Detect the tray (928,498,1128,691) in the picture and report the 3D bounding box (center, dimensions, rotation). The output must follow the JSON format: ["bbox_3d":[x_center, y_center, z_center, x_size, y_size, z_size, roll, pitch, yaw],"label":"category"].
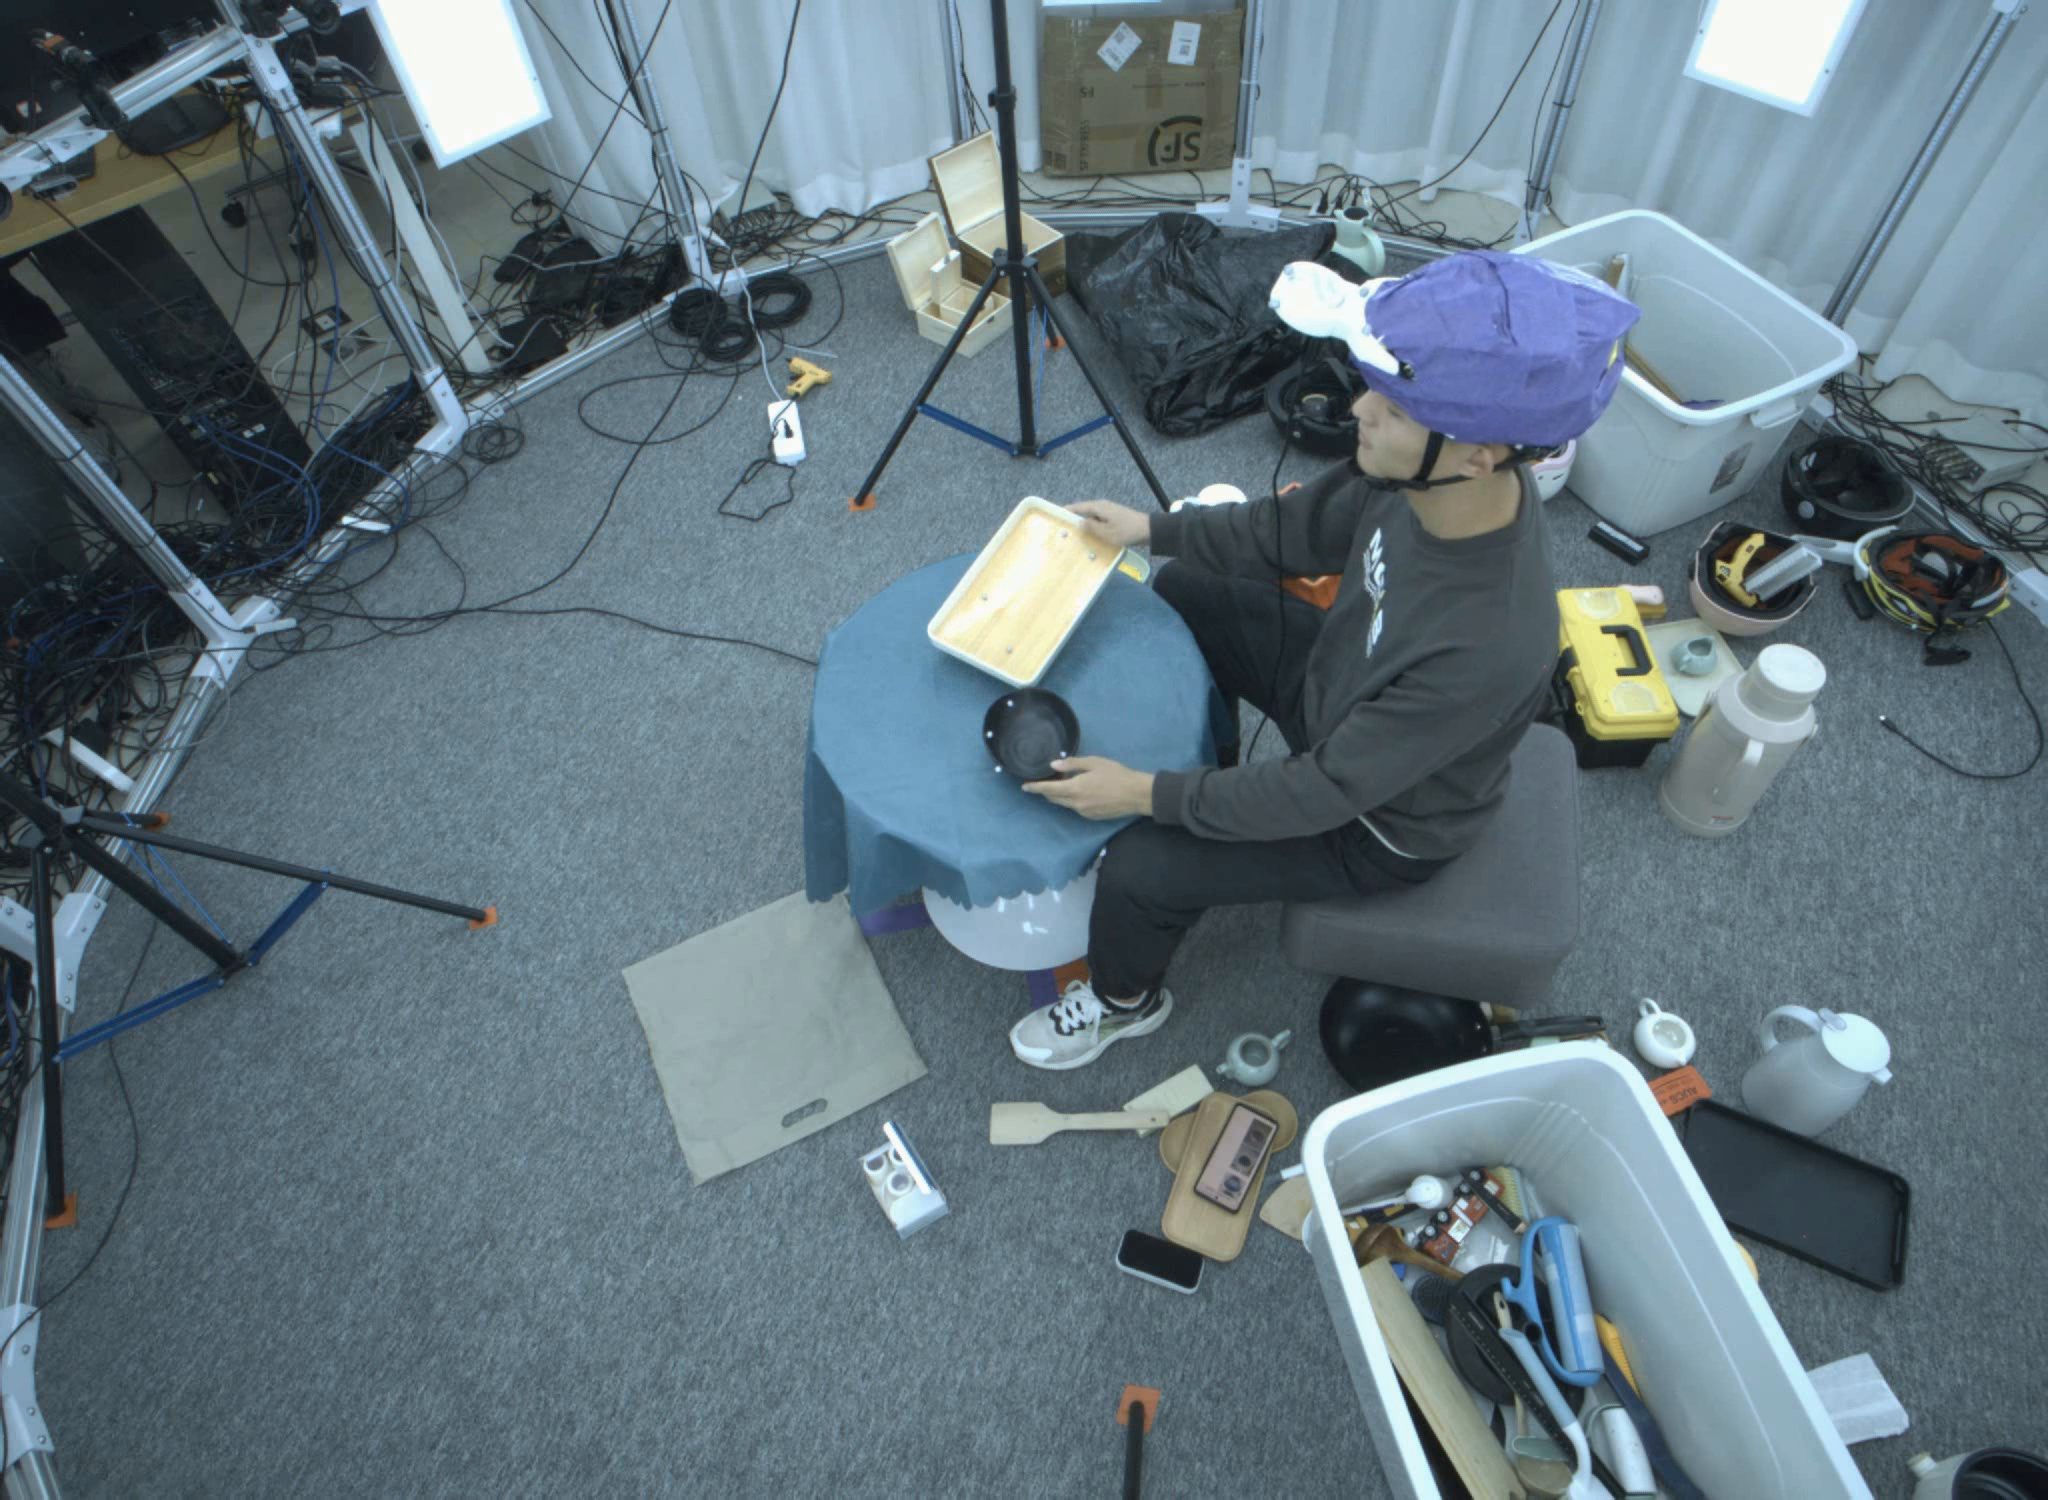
[{"bbox_3d":[0.008,-0.243,1.871,0.189,0.028,0.301,28,69,16],"label":"tray"}]

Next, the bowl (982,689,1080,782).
[{"bbox_3d":[0.010,-0.013,1.756,0.138,0.067,0.168,-8,52,-5],"label":"bowl"}]
